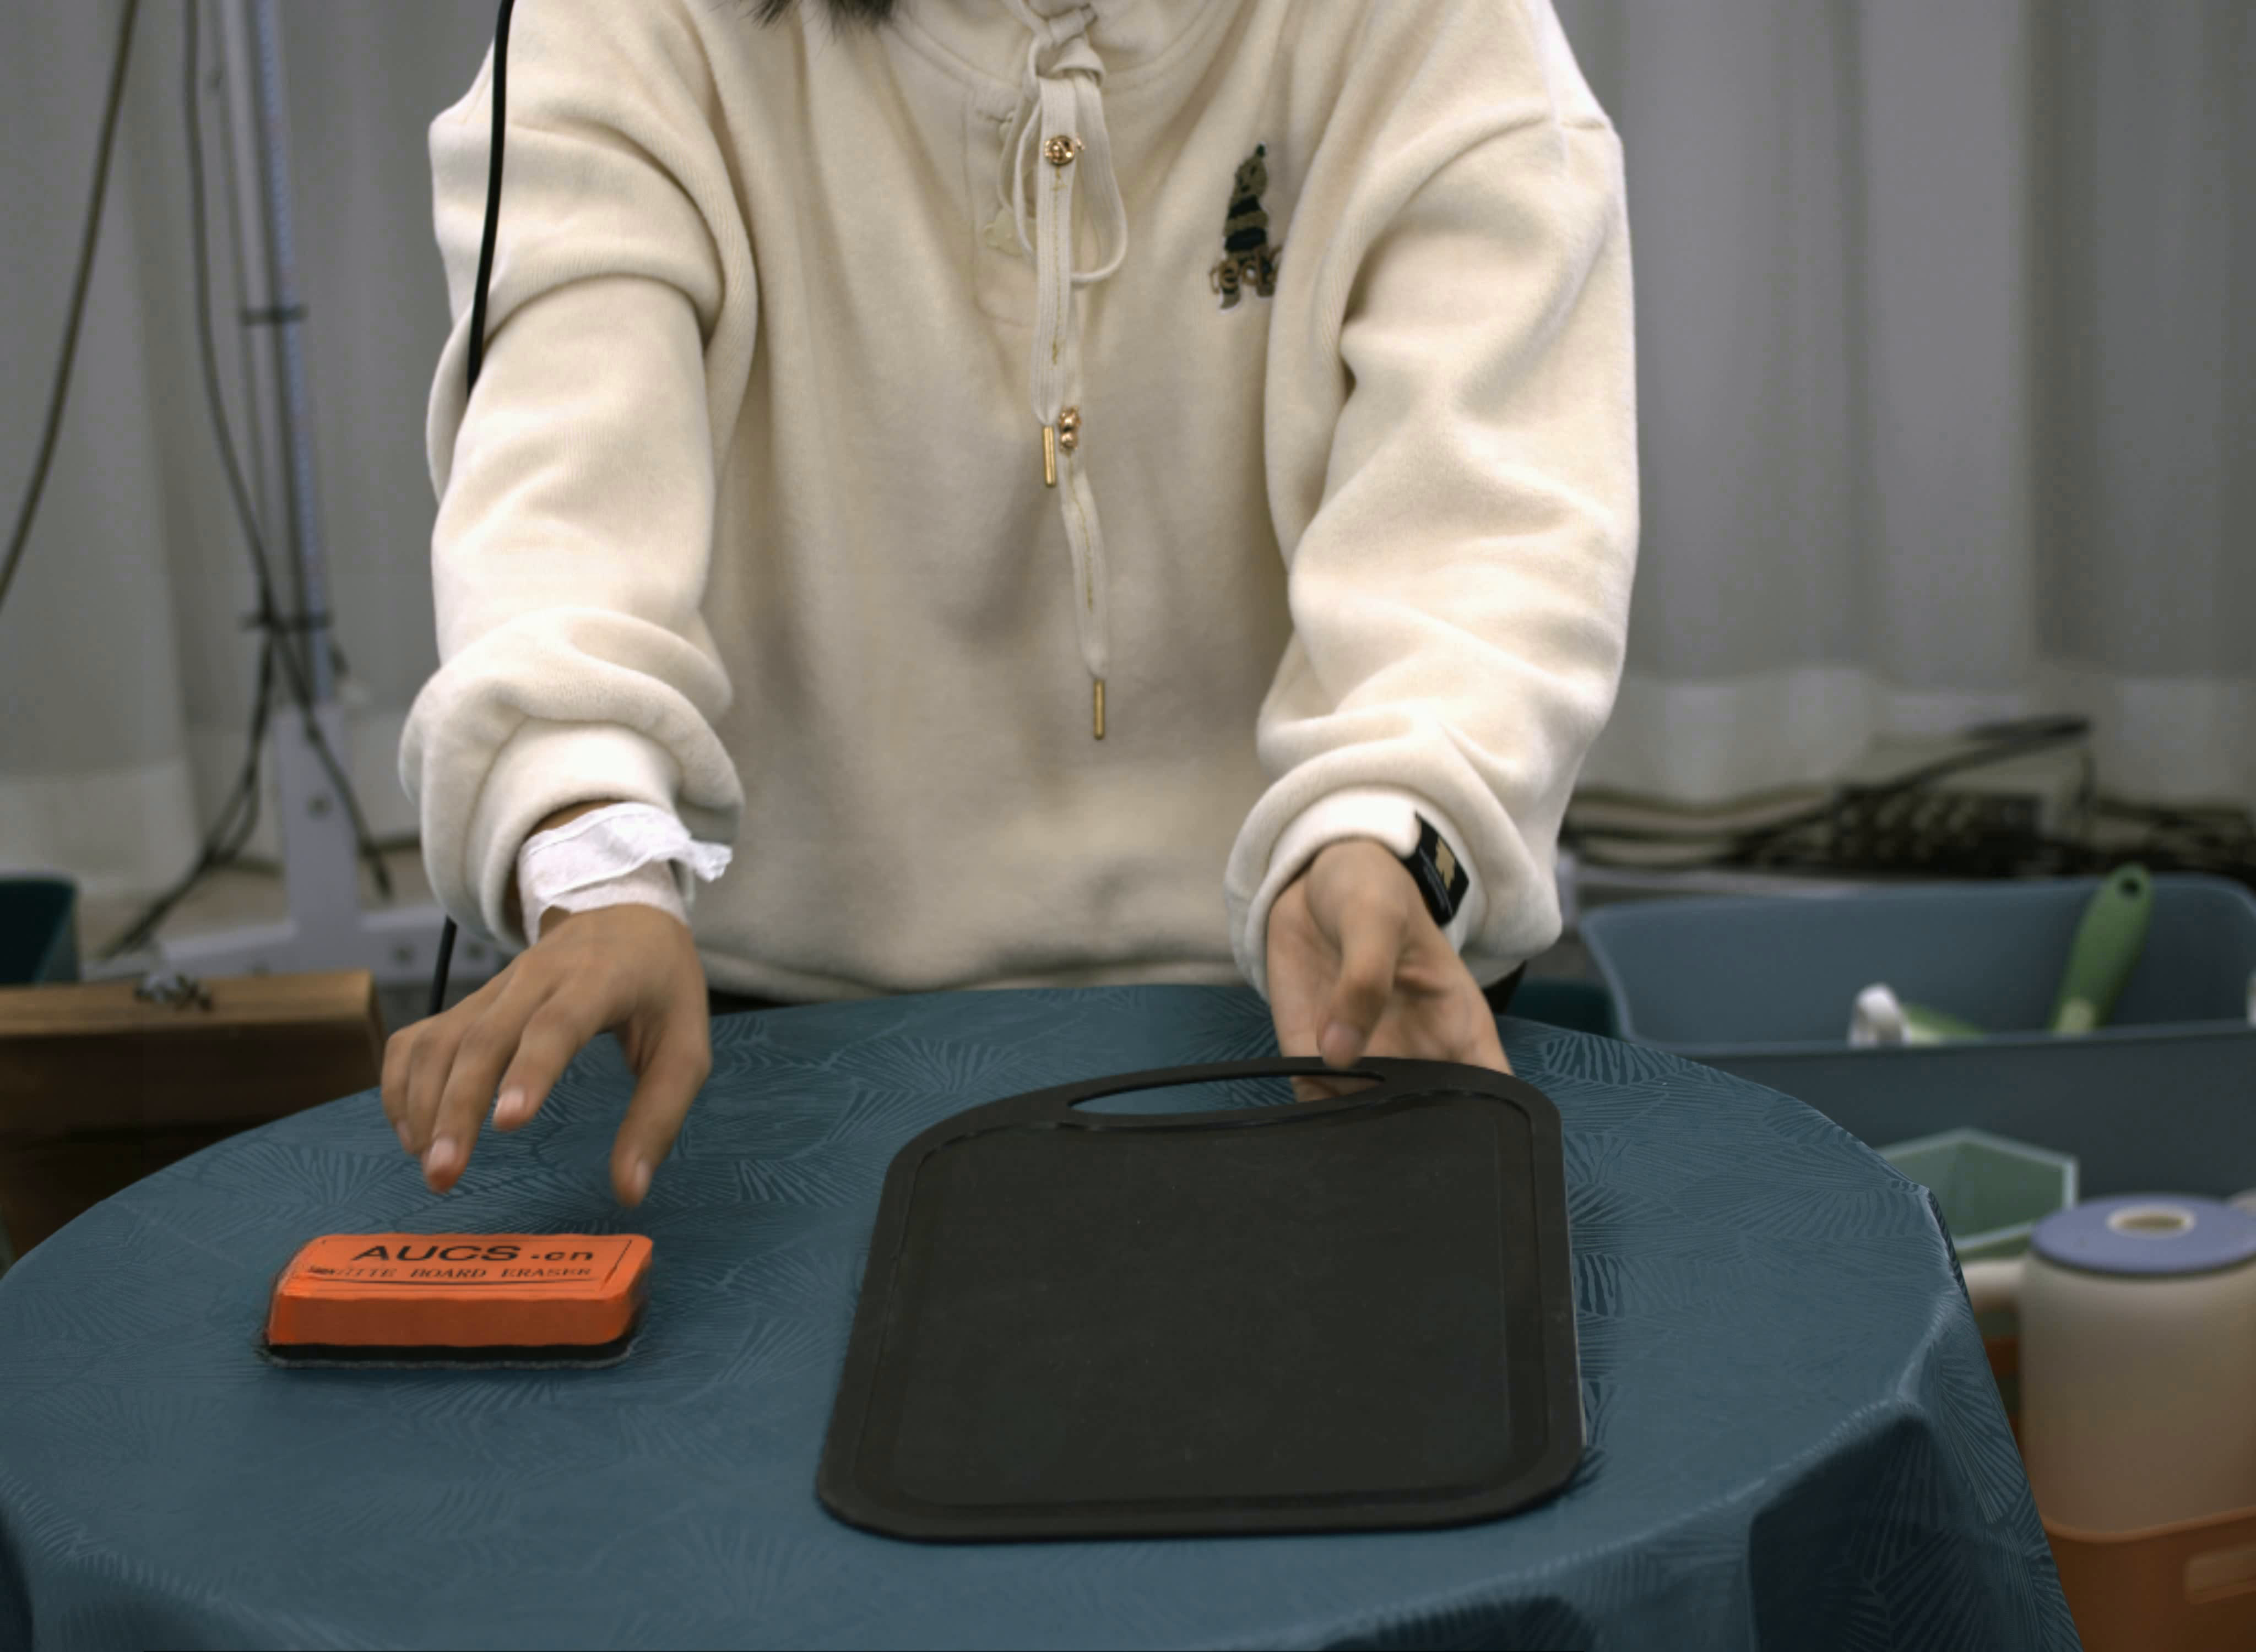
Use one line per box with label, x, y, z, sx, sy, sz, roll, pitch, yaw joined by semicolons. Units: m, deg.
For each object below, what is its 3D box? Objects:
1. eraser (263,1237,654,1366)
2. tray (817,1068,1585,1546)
eraser;-0.196;0.140;1.612;0.108;0.023;0.059;0;12;9
tray;0.025;0.131;1.588;0.210;0.010;0.328;-3;19;4
